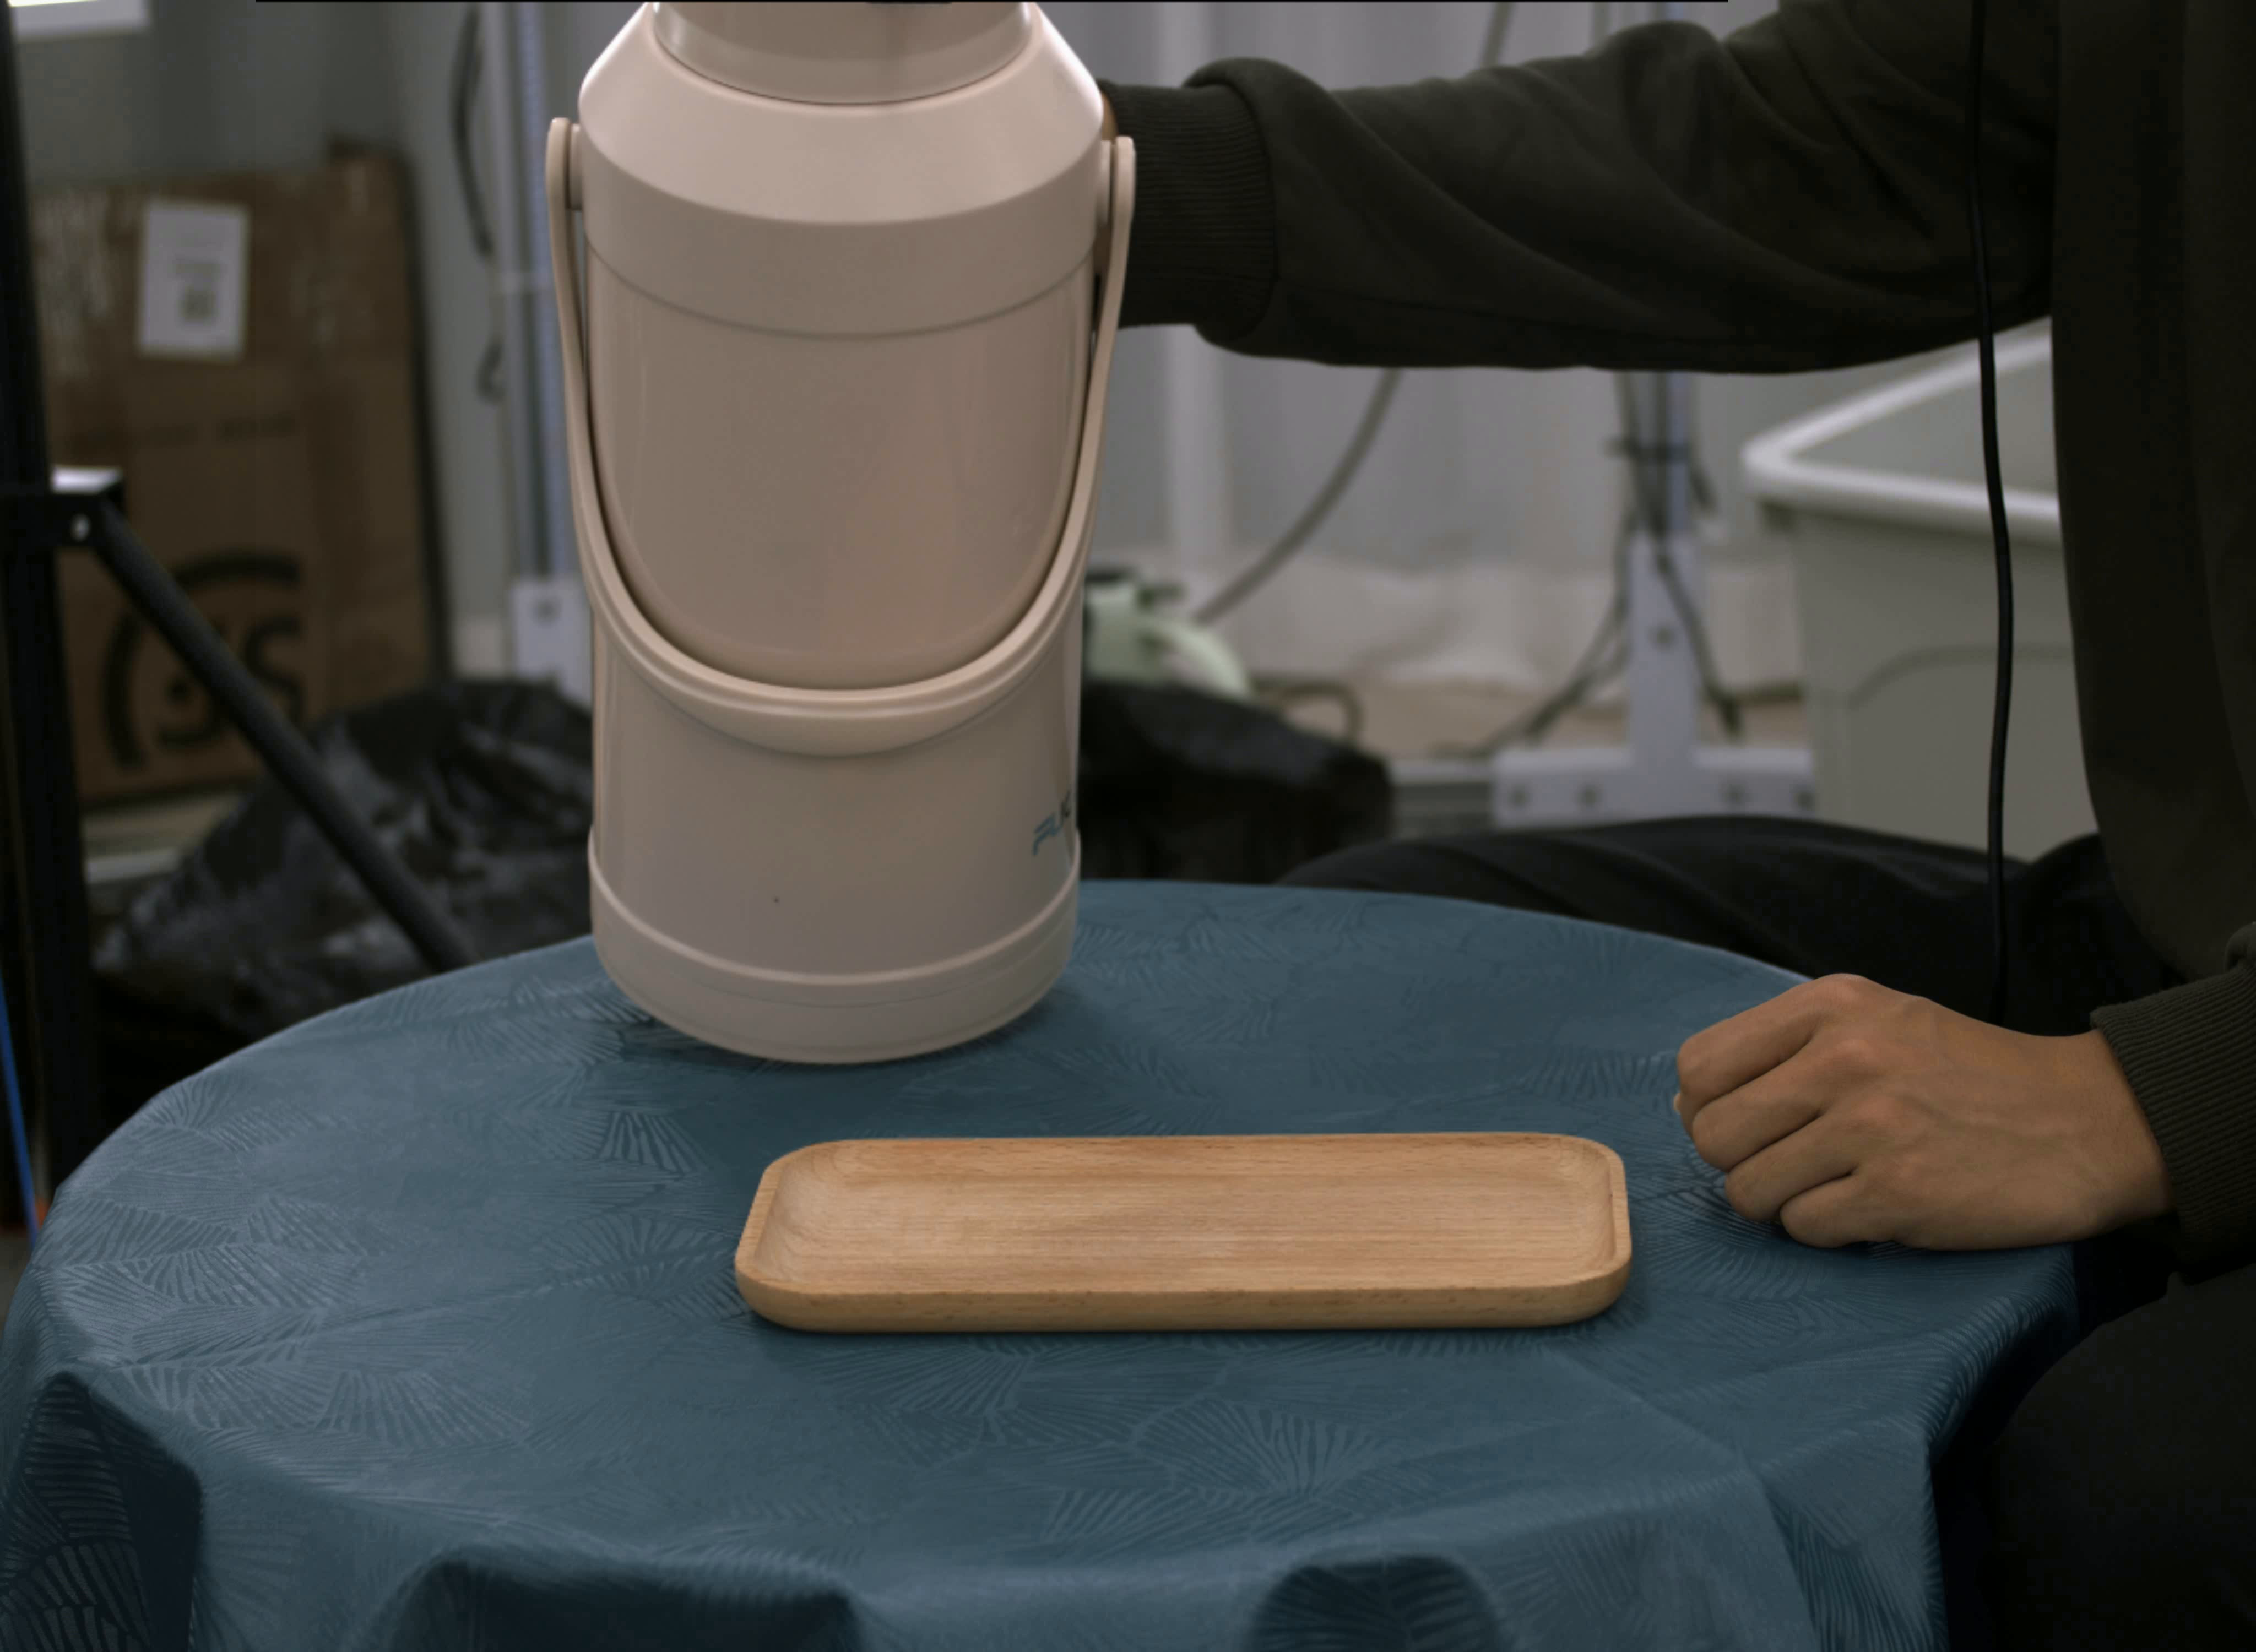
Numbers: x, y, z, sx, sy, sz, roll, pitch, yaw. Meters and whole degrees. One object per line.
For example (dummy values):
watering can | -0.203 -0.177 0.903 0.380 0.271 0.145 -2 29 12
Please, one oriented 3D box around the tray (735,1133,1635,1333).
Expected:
tray | 0.018 0.115 1.503 0.251 0.023 0.130 0 18 6

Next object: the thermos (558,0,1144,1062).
thermos | -0.084 -0.142 1.652 0.174 0.405 0.209 1 33 -1
